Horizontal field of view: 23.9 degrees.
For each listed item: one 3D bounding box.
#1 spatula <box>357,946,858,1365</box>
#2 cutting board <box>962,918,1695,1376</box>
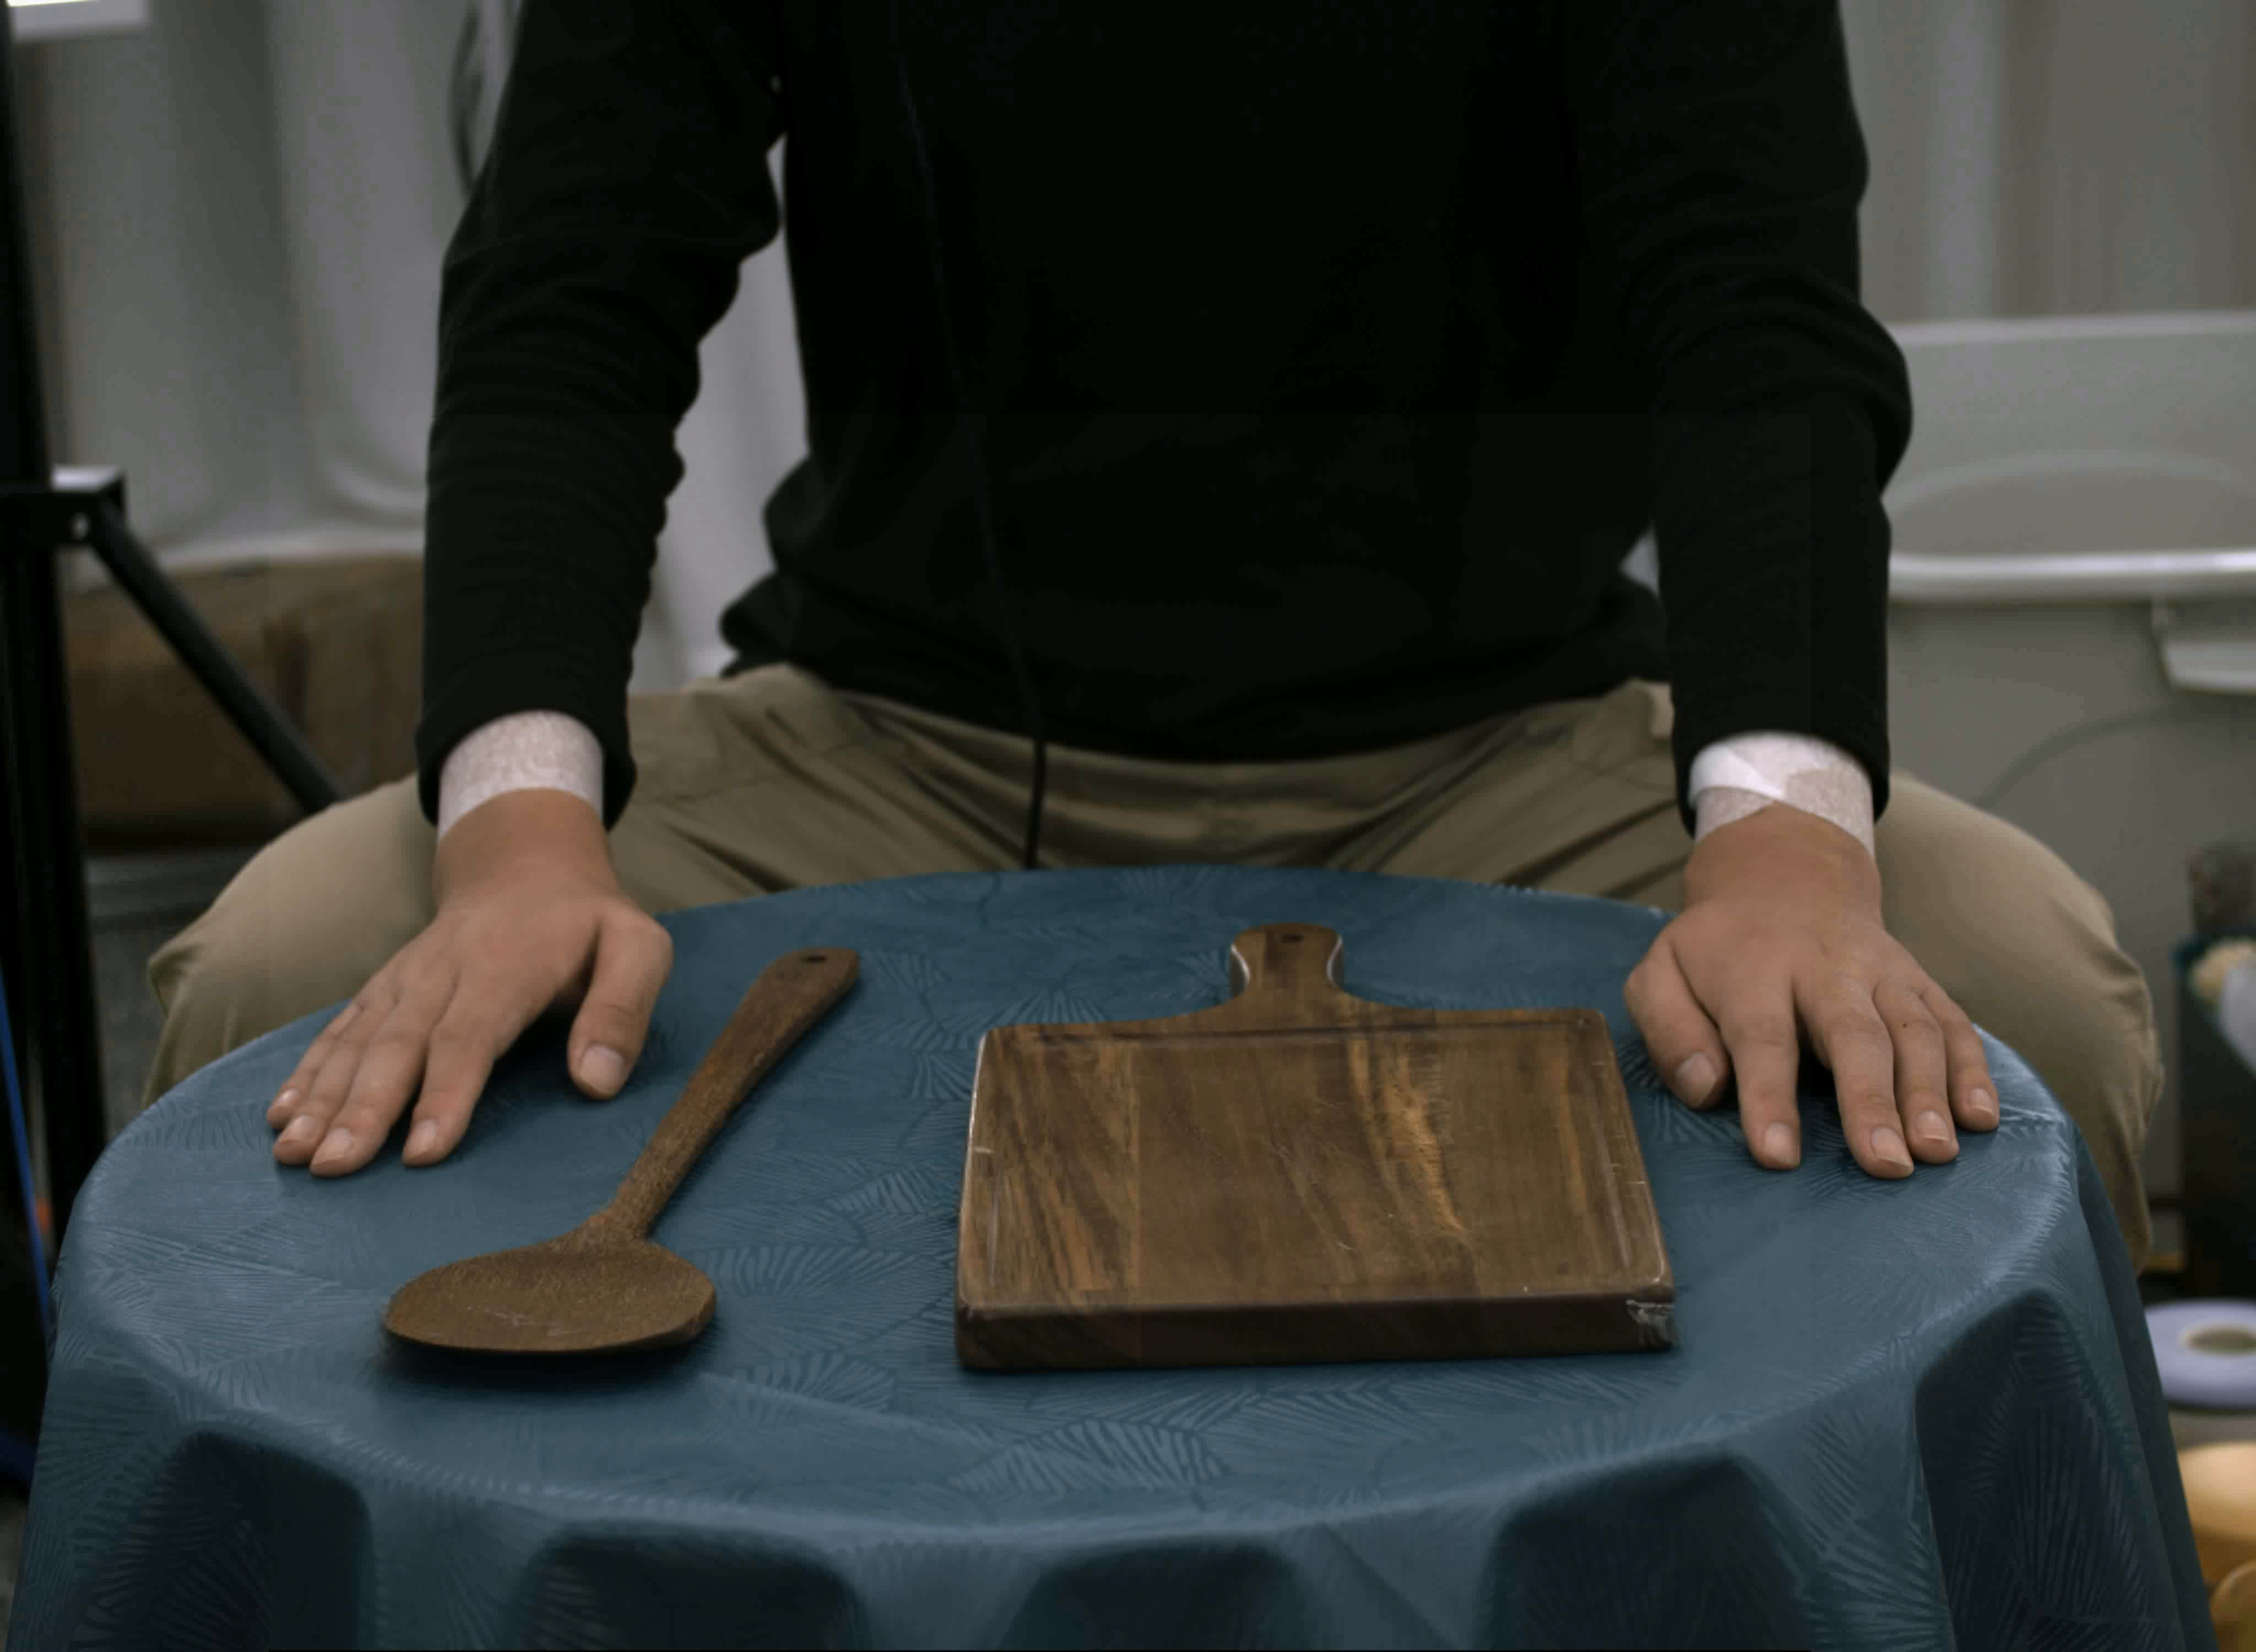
[{"bbox_3d":[-0.134,0.093,1.607,0.096,0.016,0.384,1,16,10],"label":"spatula"},{"bbox_3d":[0.052,0.088,1.581,0.200,0.023,0.353,-2,16,1],"label":"cutting board"}]
